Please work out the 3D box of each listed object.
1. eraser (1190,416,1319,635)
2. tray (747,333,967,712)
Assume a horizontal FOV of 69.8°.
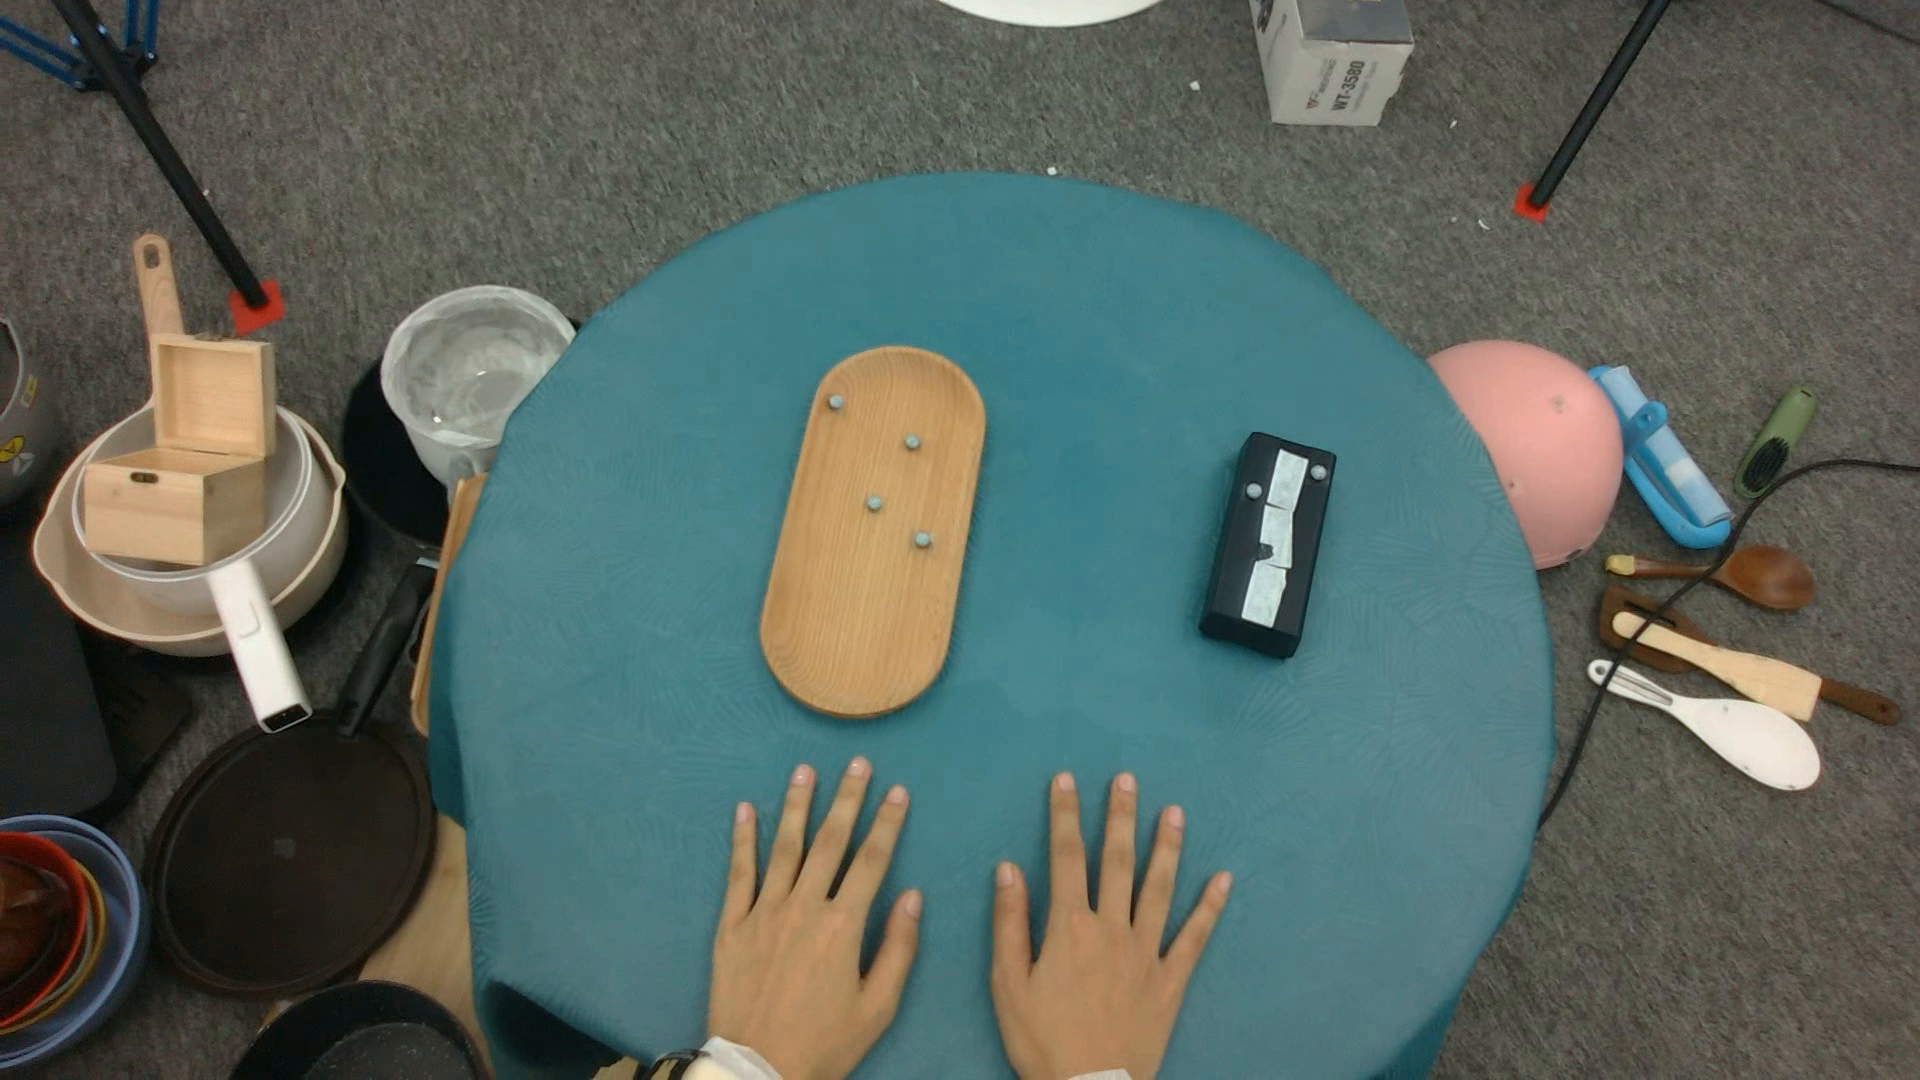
[{"bbox_3d":[0.164,-0.010,0.769,0.053,0.030,0.126,13,61,8],"label":"eraser"},{"bbox_3d":[-0.054,-0.015,0.757,0.102,0.020,0.232,8,64,-1],"label":"tray"}]
